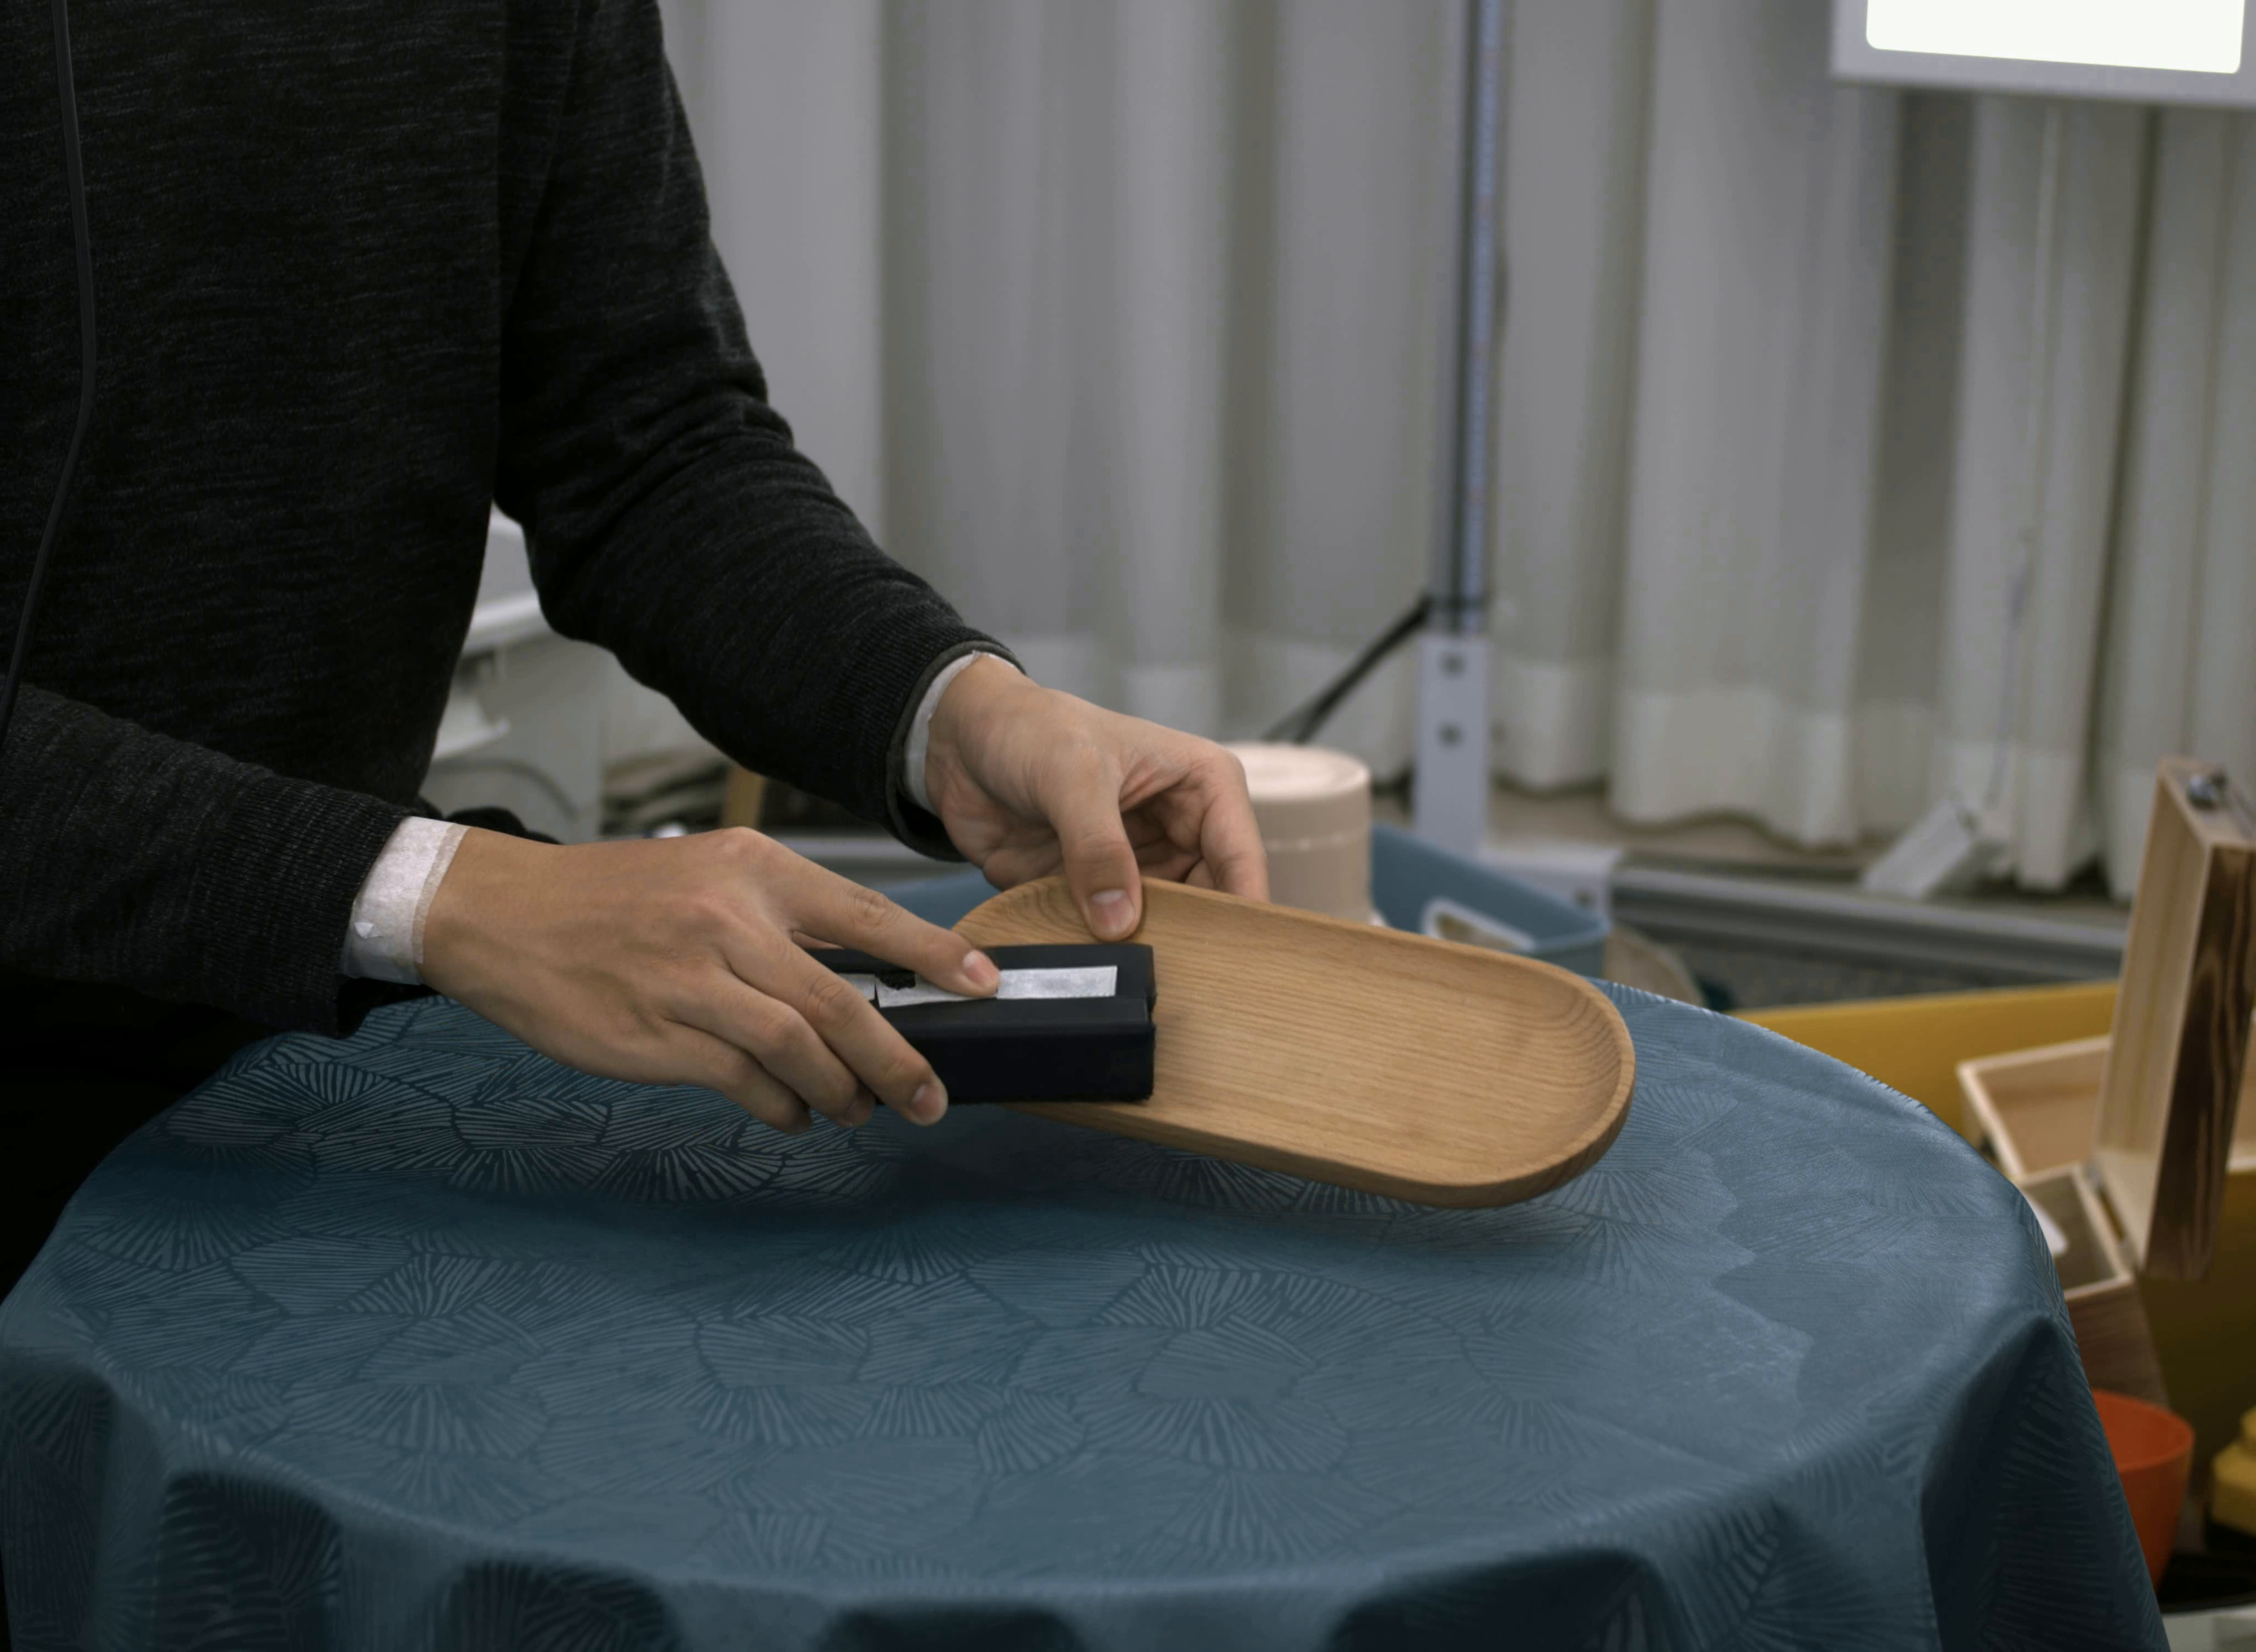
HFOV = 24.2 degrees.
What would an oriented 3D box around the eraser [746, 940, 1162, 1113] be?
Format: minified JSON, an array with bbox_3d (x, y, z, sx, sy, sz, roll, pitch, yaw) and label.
[{"bbox_3d":[-0.053,0.060,1.605,0.125,0.031,0.053,-3,31,-4],"label":"eraser"}]

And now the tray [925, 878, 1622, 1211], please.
[{"bbox_3d":[0.040,0.067,1.618,0.229,0.020,0.101,10,43,21],"label":"tray"}]
